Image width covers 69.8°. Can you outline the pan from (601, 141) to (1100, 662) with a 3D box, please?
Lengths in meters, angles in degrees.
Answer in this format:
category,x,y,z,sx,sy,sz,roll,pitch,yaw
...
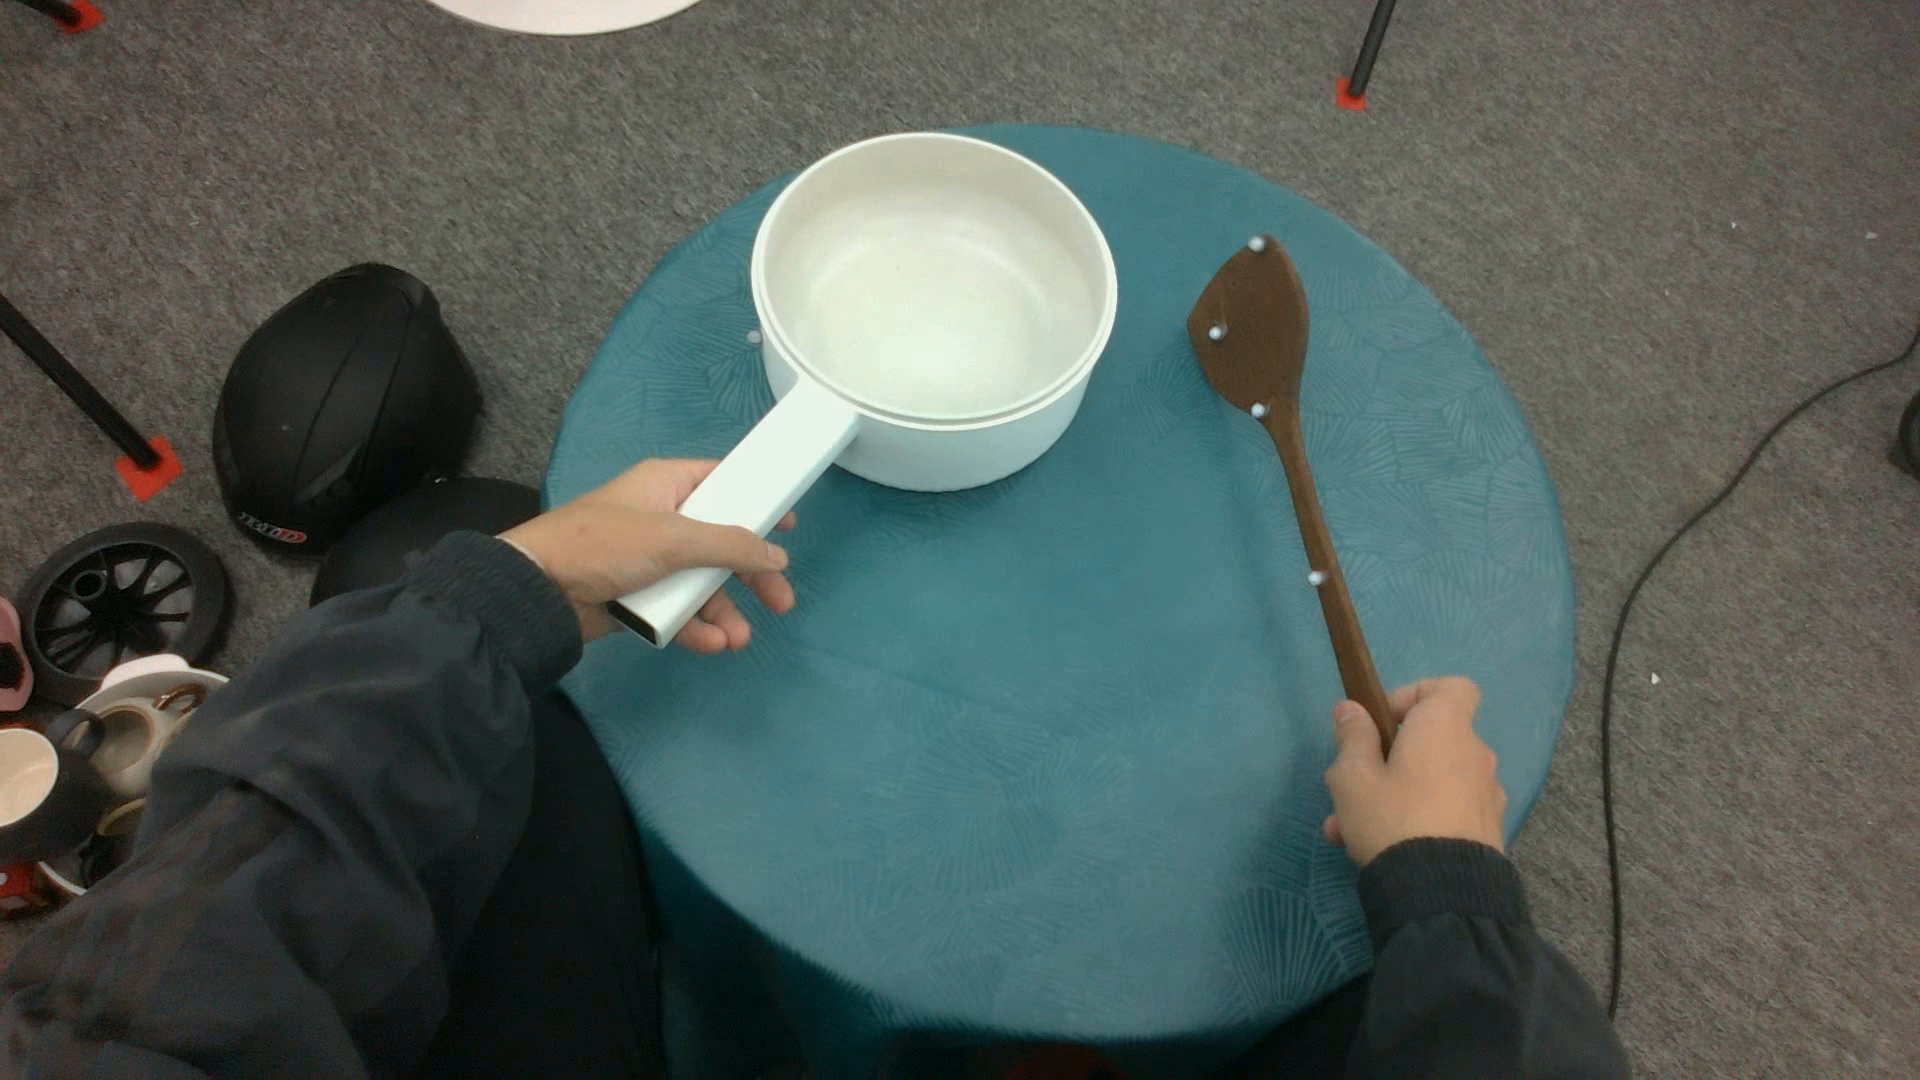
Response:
category,x,y,z,sx,sy,sz,roll,pitch,yaw
pan,-0.065,-0.068,0.776,0.201,0.101,0.356,31,65,10

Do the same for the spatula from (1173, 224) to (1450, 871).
category,x,y,z,sx,sy,sz,roll,pitch,yaw
spatula,0.196,-0.006,0.766,0.016,0.095,0.387,2,61,-28
